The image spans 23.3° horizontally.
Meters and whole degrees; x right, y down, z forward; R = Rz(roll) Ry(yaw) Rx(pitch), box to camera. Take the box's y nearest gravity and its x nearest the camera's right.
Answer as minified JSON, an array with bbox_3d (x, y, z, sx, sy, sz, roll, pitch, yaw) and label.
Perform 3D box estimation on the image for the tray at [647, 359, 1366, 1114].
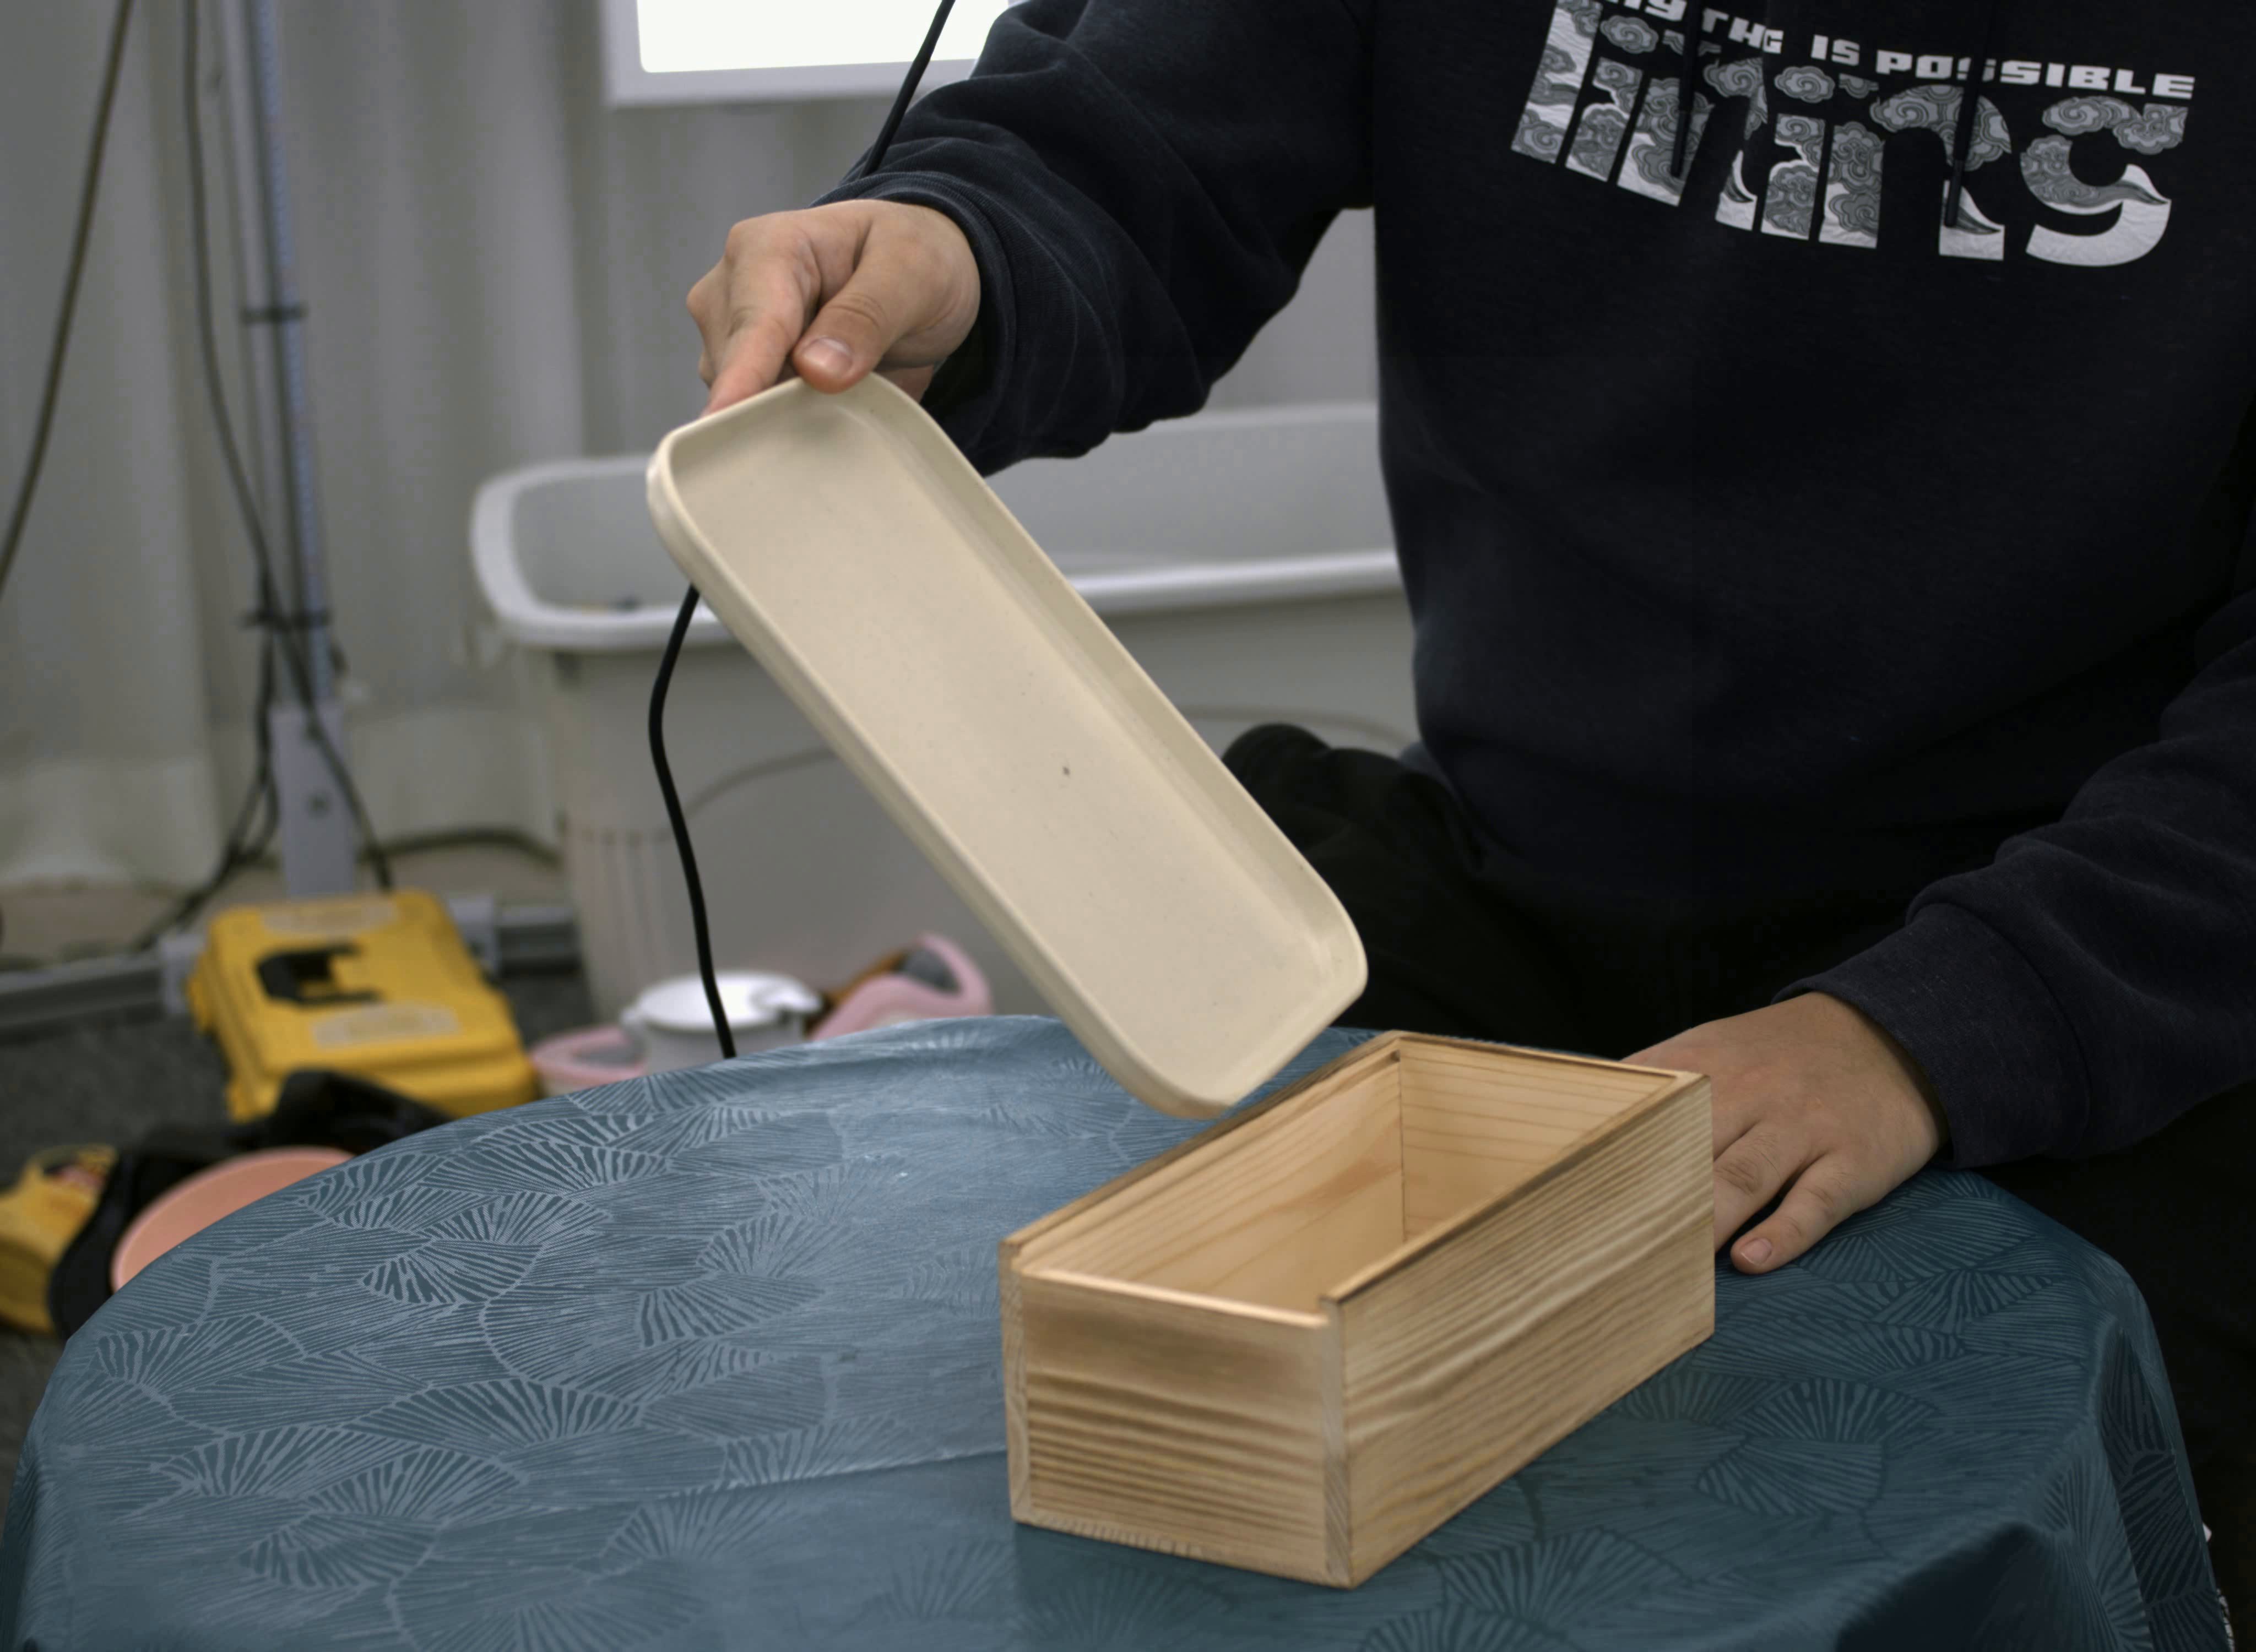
[{"bbox_3d":[-0.033,-0.026,1.527,0.017,0.240,0.172,-42,-4,24],"label":"tray"}]

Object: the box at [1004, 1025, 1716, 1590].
[{"bbox_3d":[0.068,0.127,1.503,0.108,0.080,0.211,7,17,31],"label":"box"}]
